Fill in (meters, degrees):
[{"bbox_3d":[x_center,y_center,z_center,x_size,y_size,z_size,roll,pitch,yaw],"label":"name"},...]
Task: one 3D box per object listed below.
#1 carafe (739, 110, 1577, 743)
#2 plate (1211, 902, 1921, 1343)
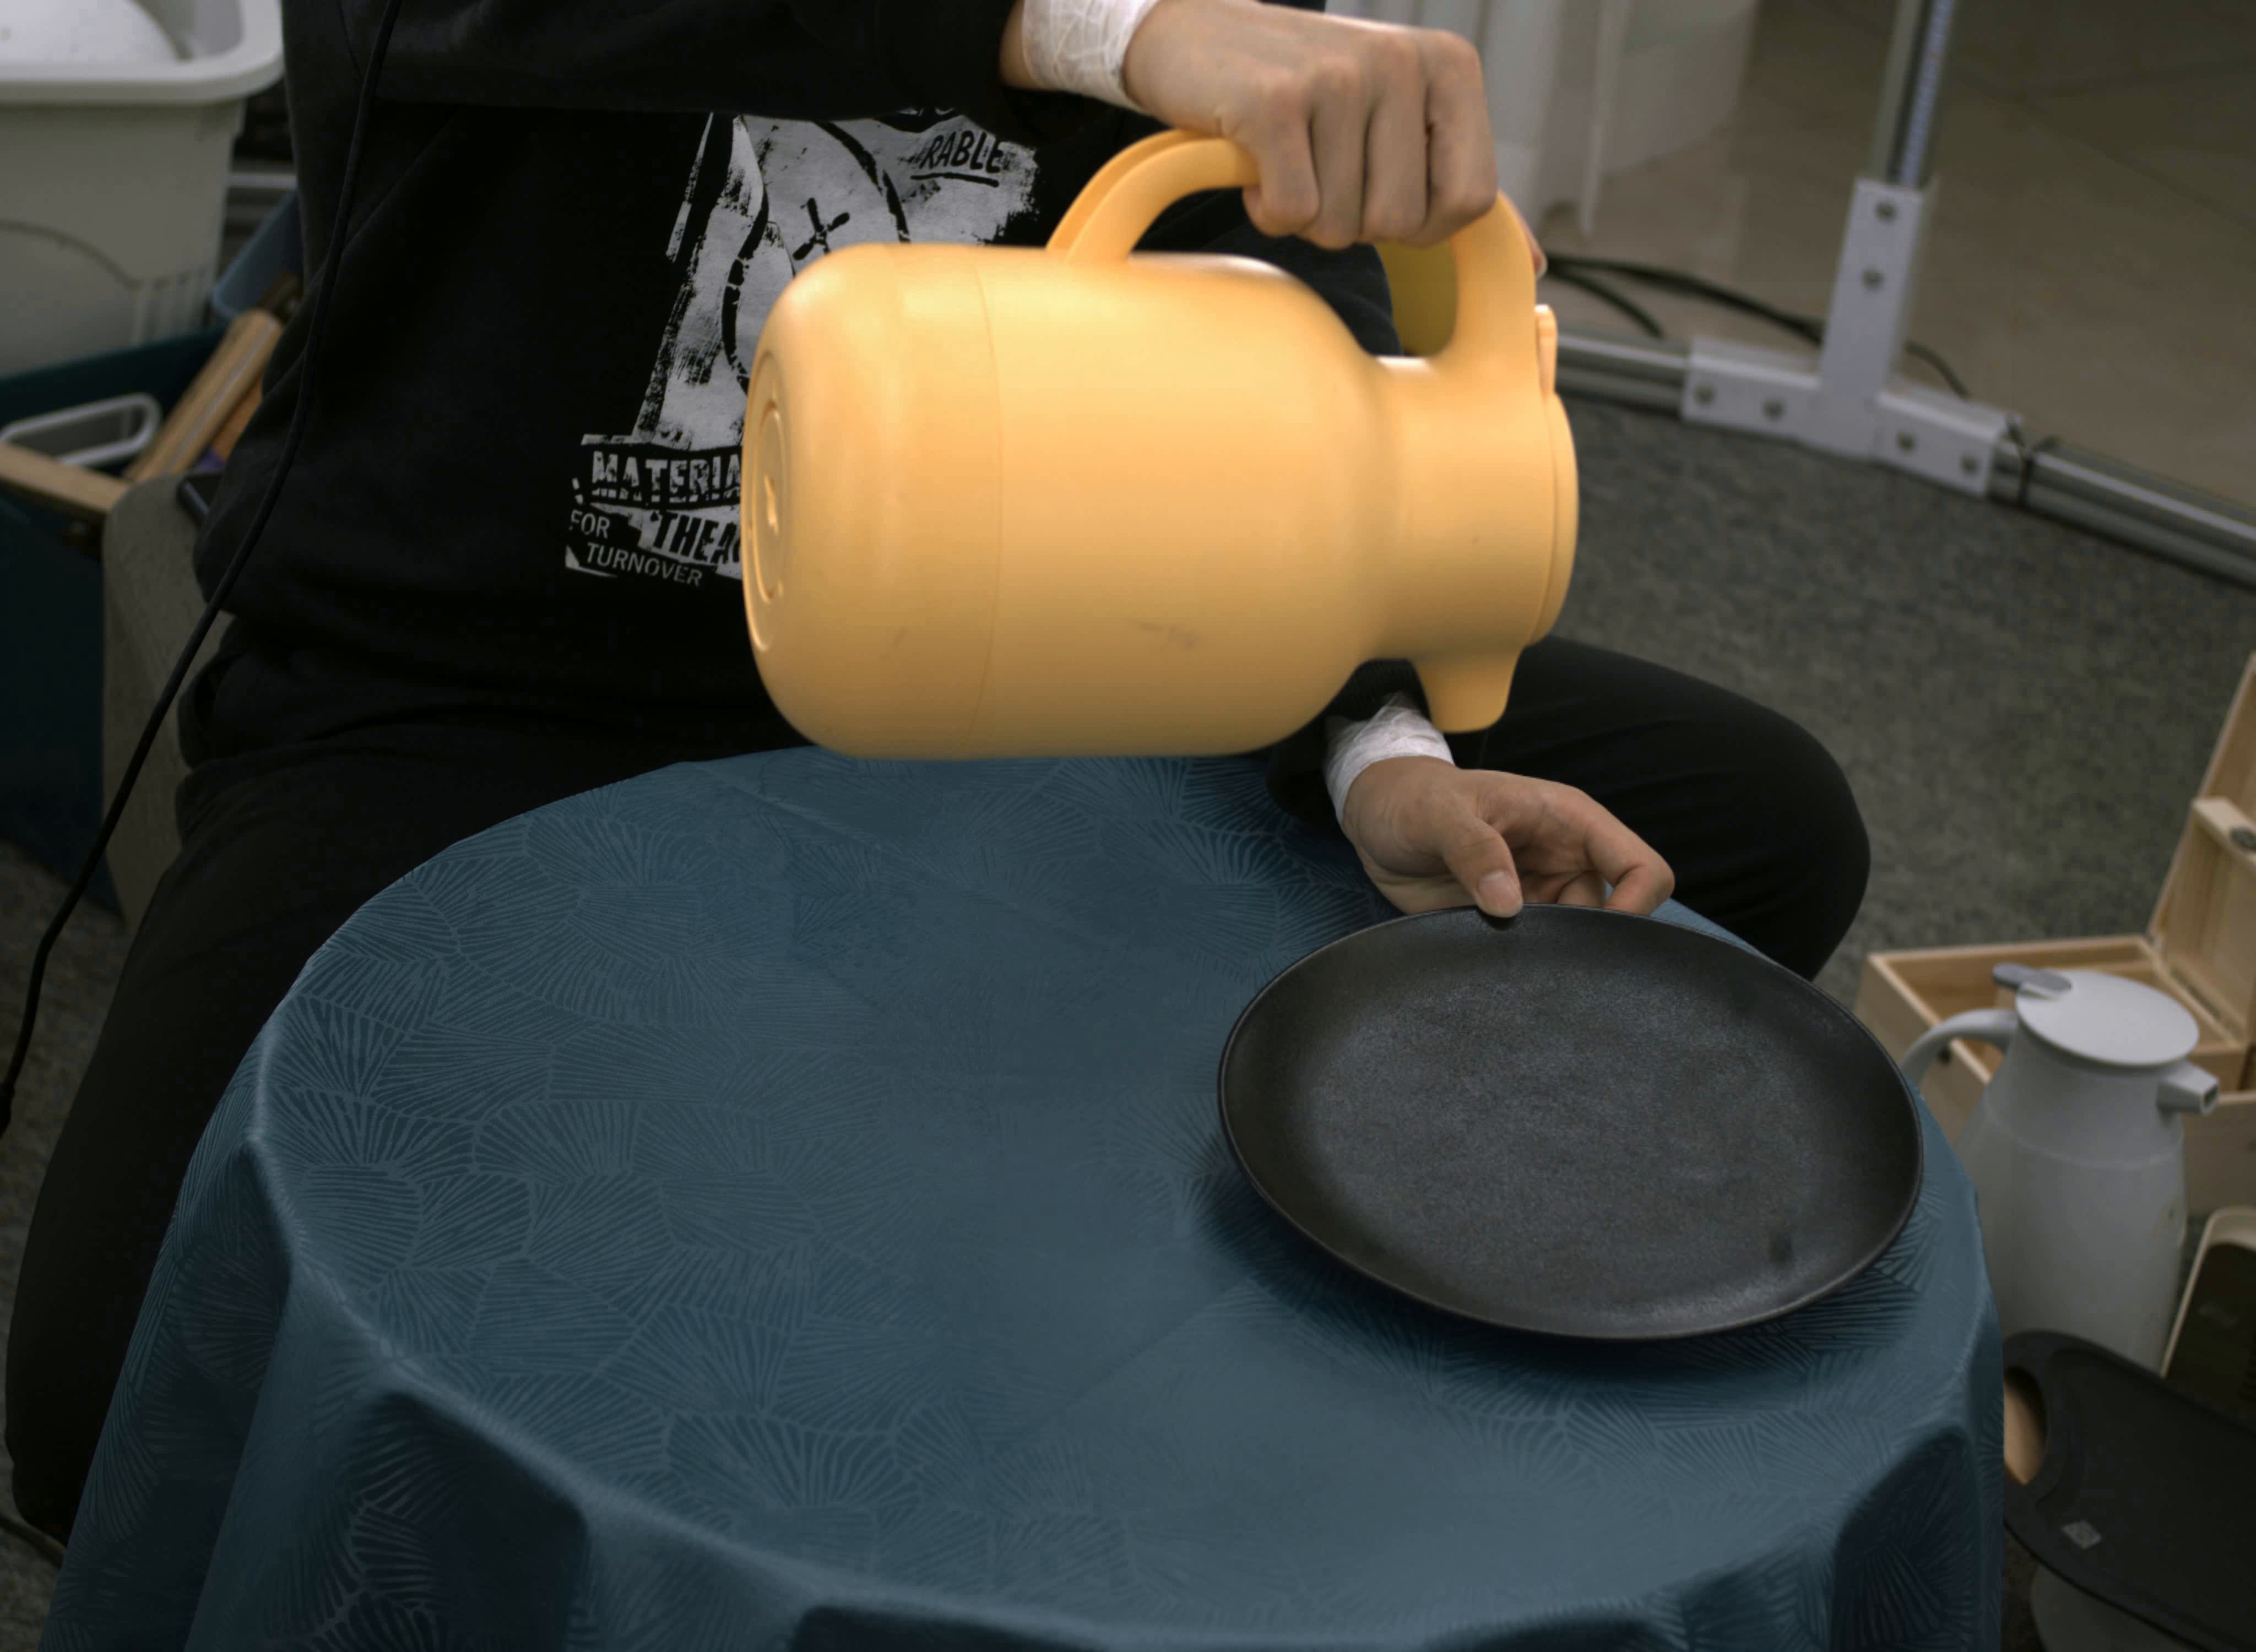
[{"bbox_3d":[0.012,-0.127,1.693,0.259,0.202,0.164,1,11,-14],"label":"carafe"},{"bbox_3d":[0.149,0.105,1.823,0.243,0.023,0.246,3,34,-2],"label":"plate"}]
